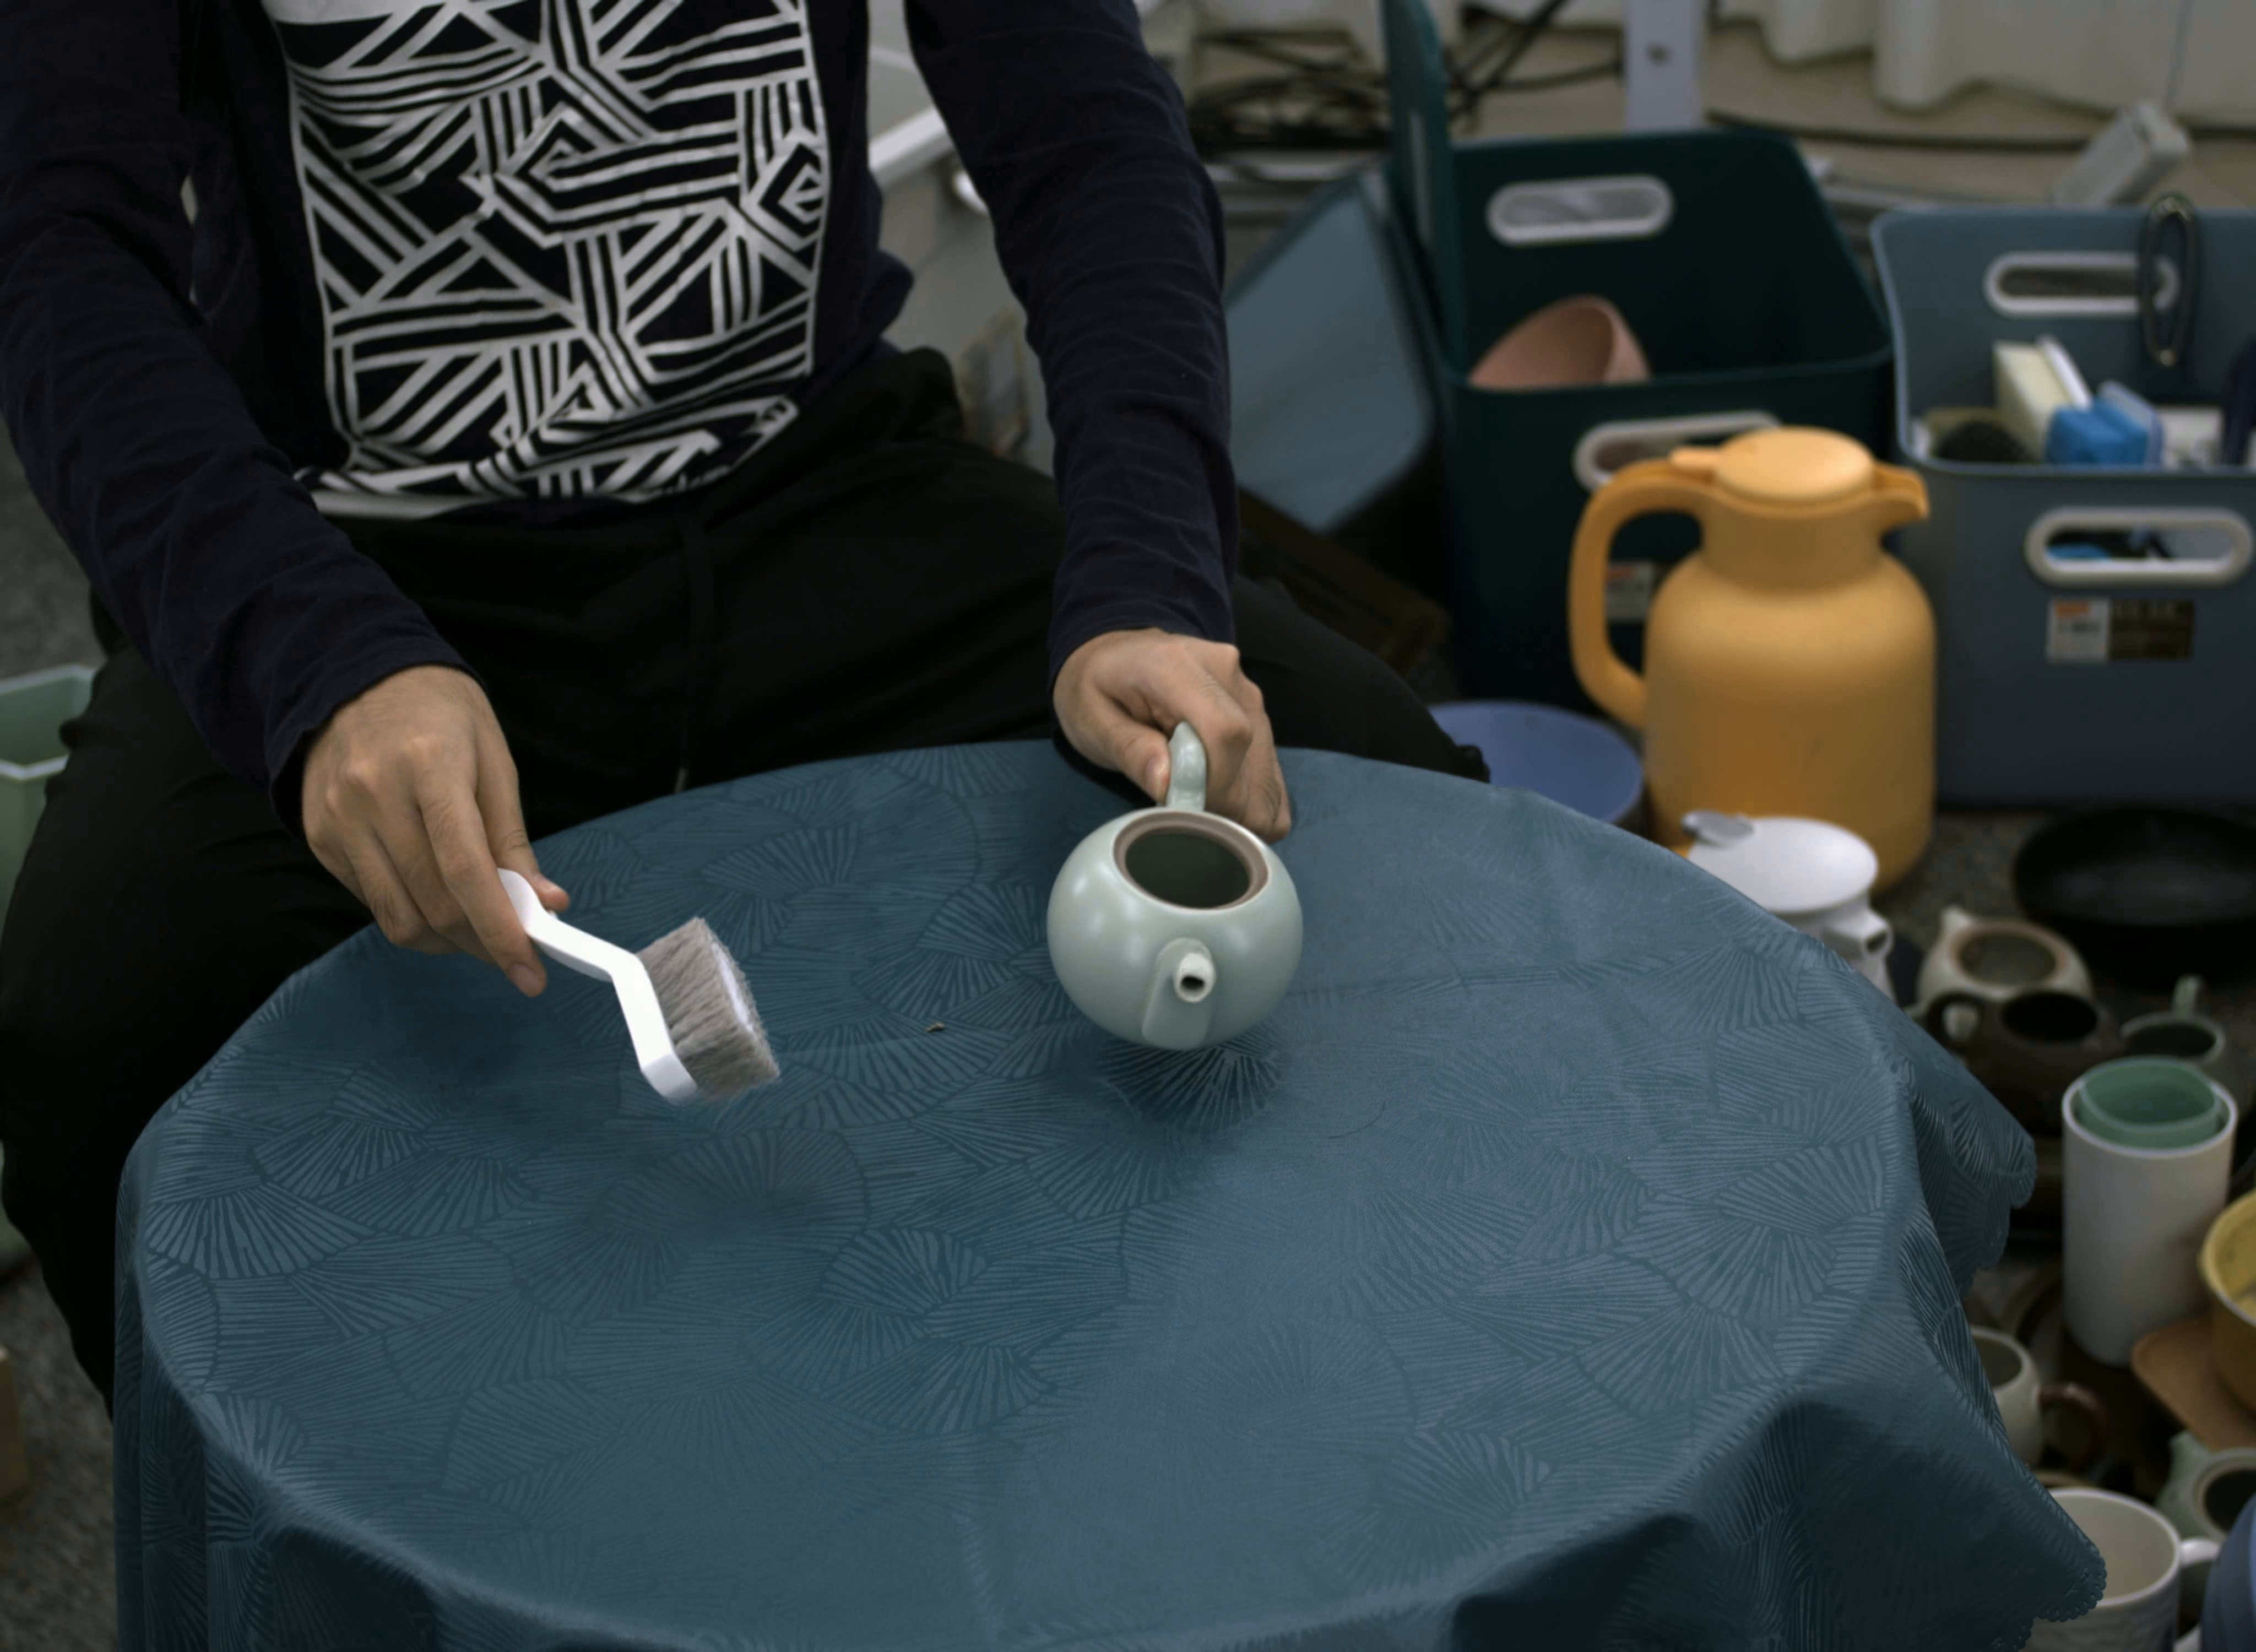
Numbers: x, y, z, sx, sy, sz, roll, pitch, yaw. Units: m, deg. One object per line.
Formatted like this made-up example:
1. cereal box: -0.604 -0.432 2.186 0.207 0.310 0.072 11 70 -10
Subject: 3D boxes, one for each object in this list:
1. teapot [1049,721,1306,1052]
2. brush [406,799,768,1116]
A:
1. teapot: 0.017 0.034 1.917 0.088 0.073 0.146 9 39 -4
2. brush: -0.183 0.029 1.899 0.050 0.034 0.245 -47 36 -2
